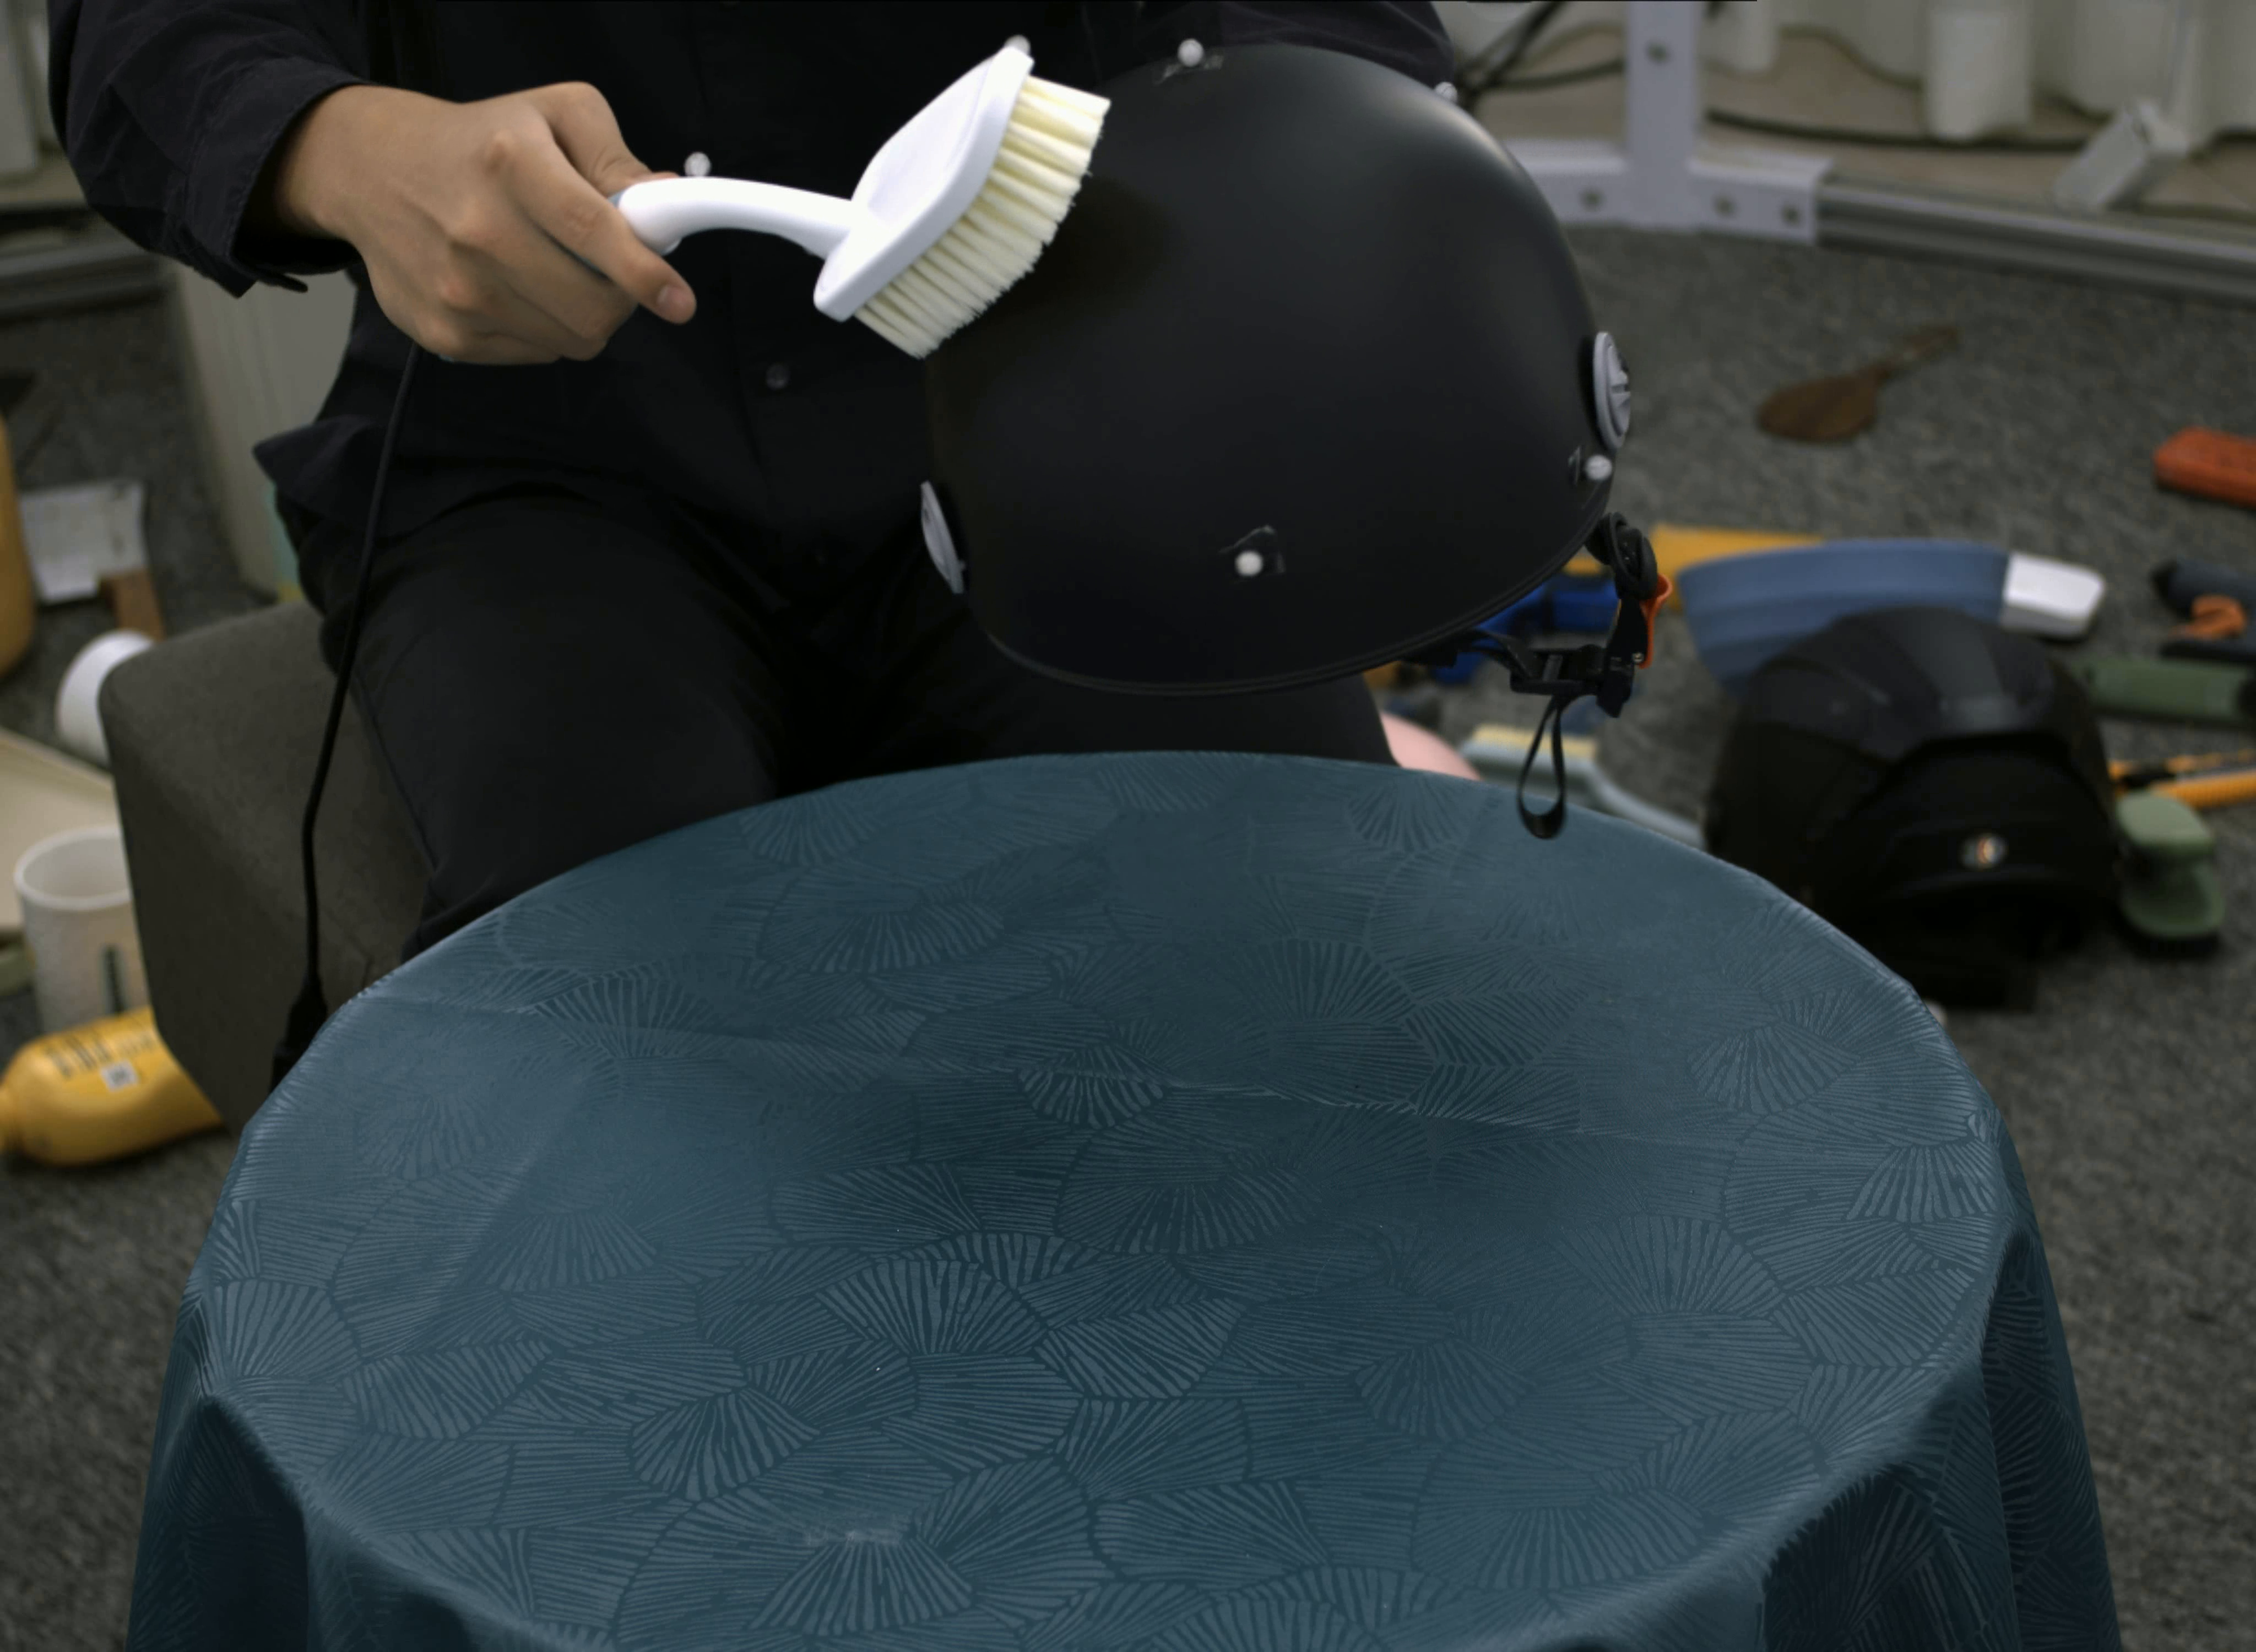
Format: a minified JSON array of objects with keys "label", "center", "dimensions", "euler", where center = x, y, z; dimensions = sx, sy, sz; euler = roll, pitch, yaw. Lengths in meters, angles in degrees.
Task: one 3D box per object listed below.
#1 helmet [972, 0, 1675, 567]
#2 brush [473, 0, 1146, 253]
[{"label":"helmet","center":[0.055,-0.201,1.831],"dimensions":[0.228,0.165,0.277],"euler":[-13,22,6]},{"label":"brush","center":[-0.094,-0.222,1.843],"dimensions":[0.084,0.084,0.321],"euler":[-32,11,-40]}]
